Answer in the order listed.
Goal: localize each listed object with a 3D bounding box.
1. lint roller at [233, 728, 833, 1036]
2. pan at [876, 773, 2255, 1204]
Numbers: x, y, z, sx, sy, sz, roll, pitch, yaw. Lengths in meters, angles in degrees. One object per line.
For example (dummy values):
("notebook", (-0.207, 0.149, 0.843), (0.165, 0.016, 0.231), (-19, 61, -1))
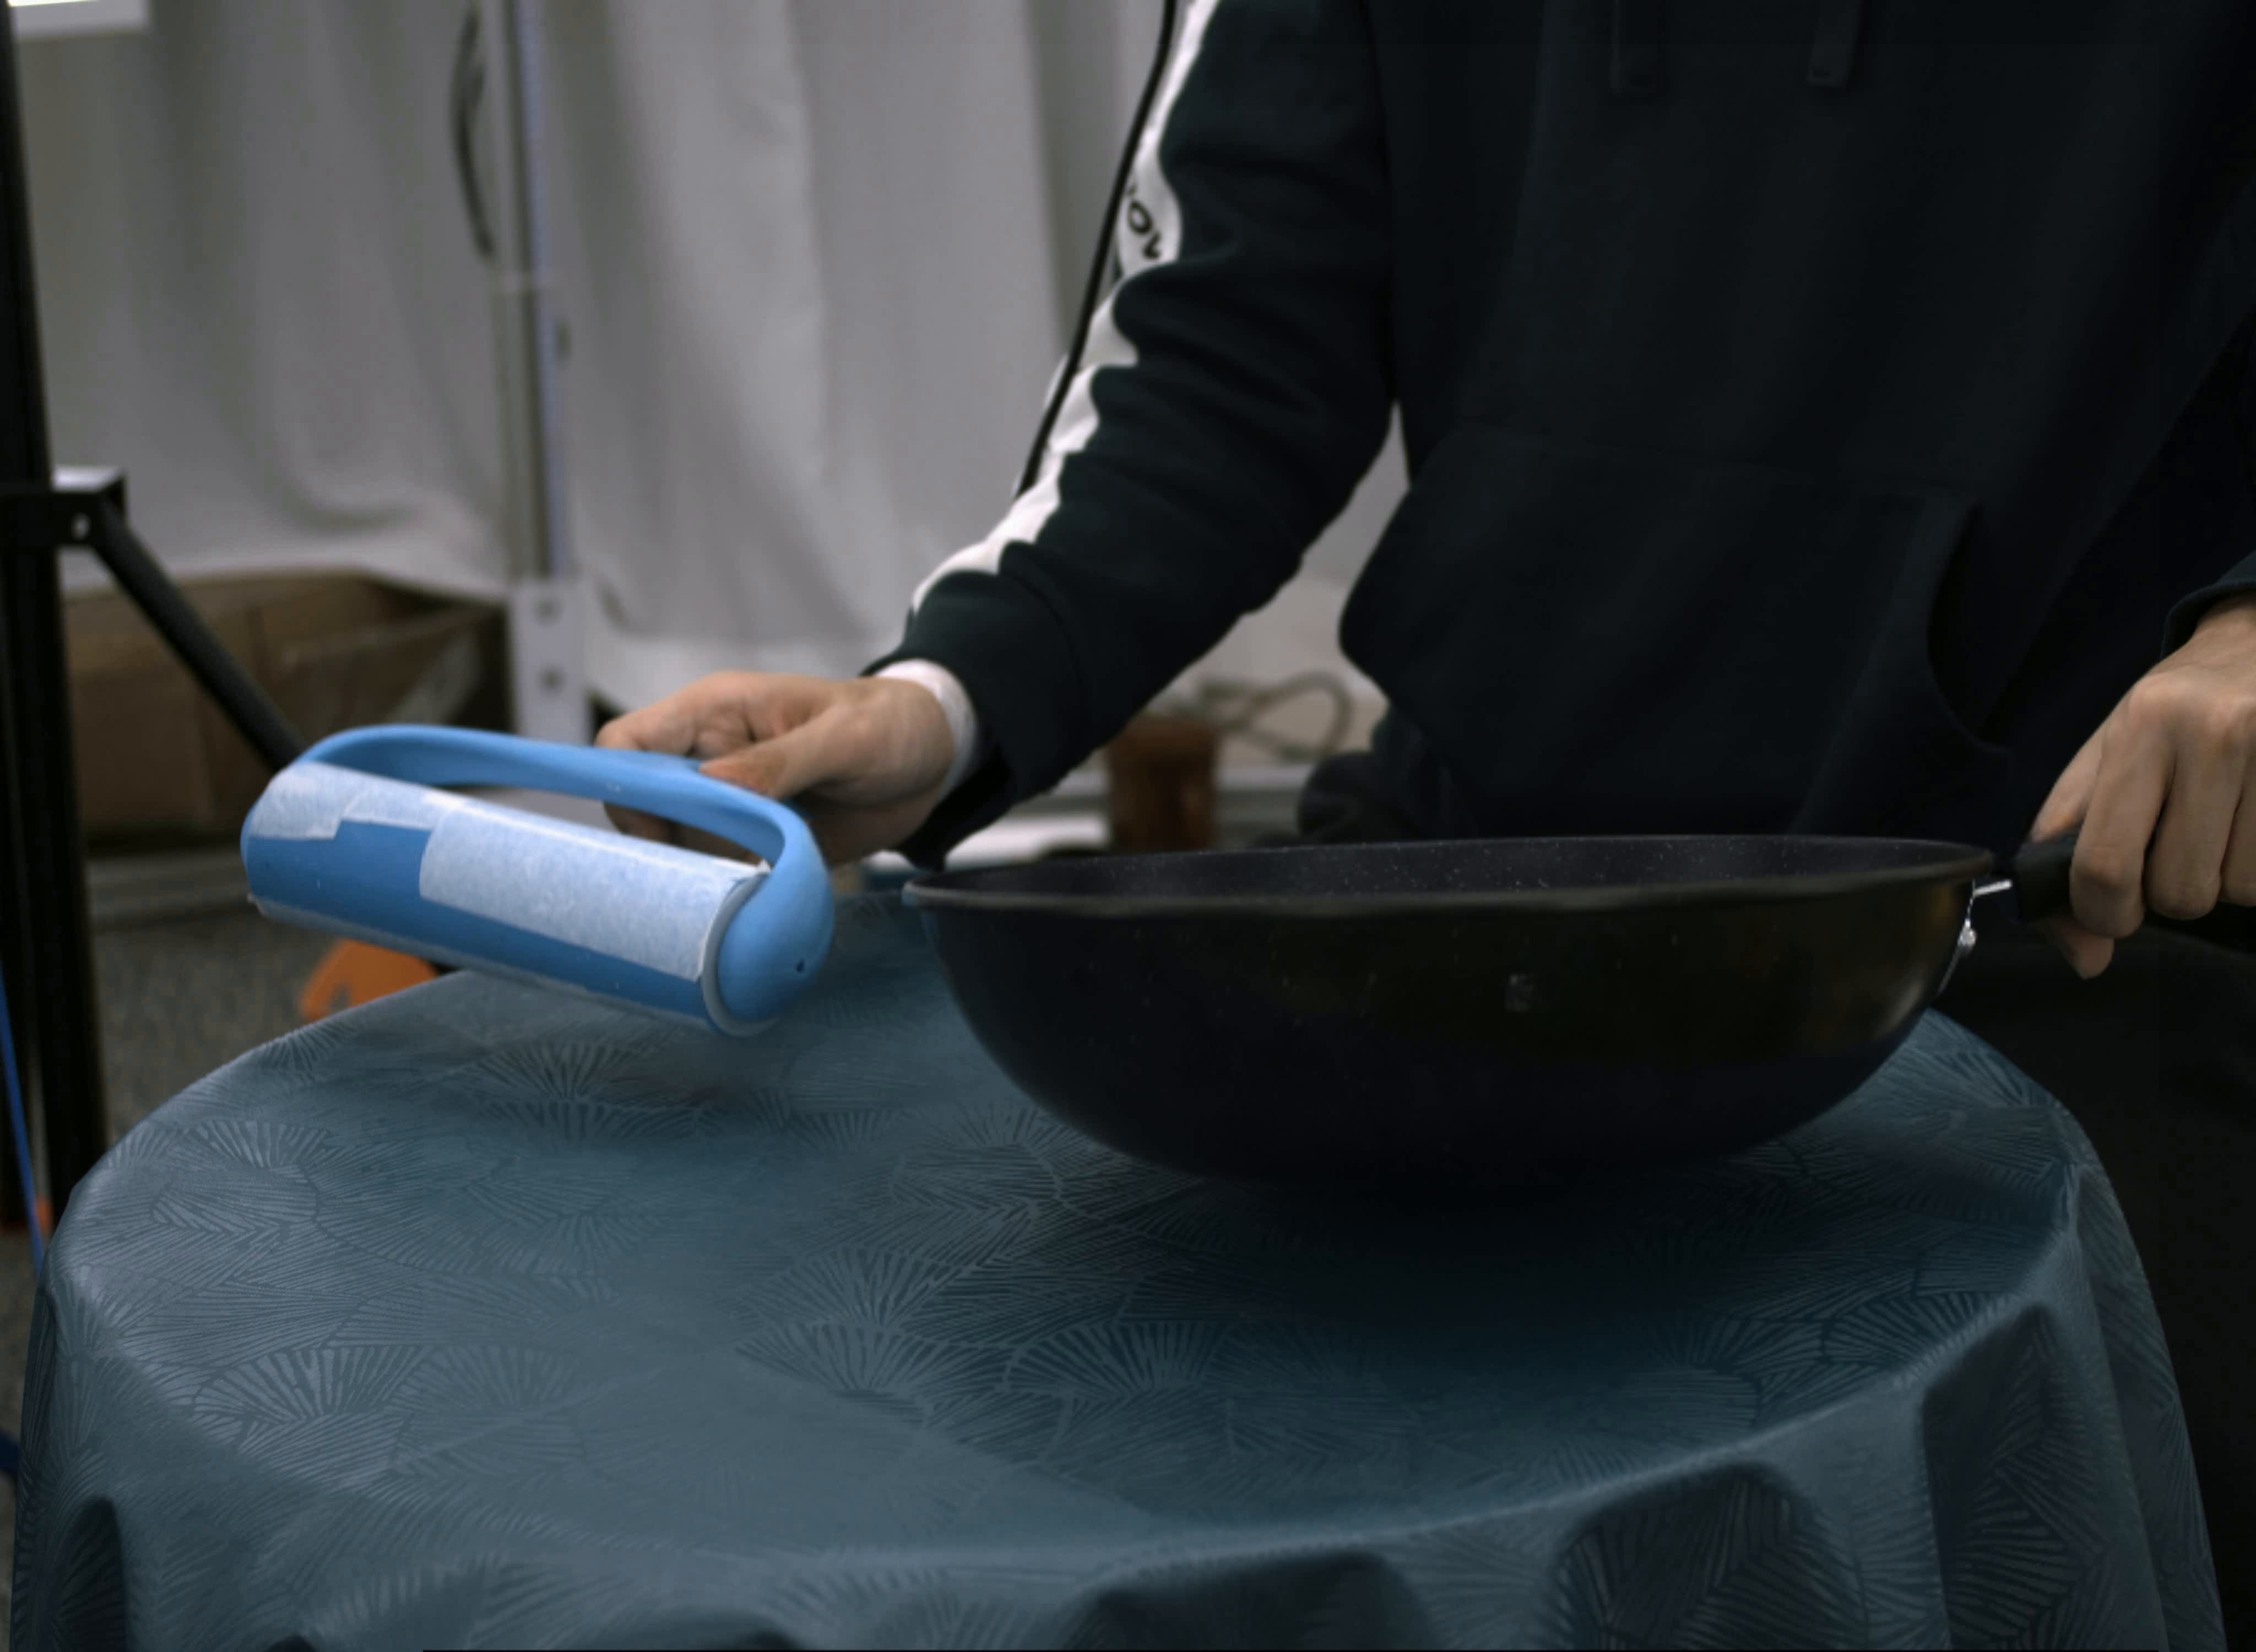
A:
("lint roller", (-0.161, 0.008, 1.735), (0.233, 0.068, 0.177), (9, 18, 32))
("pan", (0.167, 0.040, 1.503), (0.473, 0.112, 0.311), (-2, 3, -4))
